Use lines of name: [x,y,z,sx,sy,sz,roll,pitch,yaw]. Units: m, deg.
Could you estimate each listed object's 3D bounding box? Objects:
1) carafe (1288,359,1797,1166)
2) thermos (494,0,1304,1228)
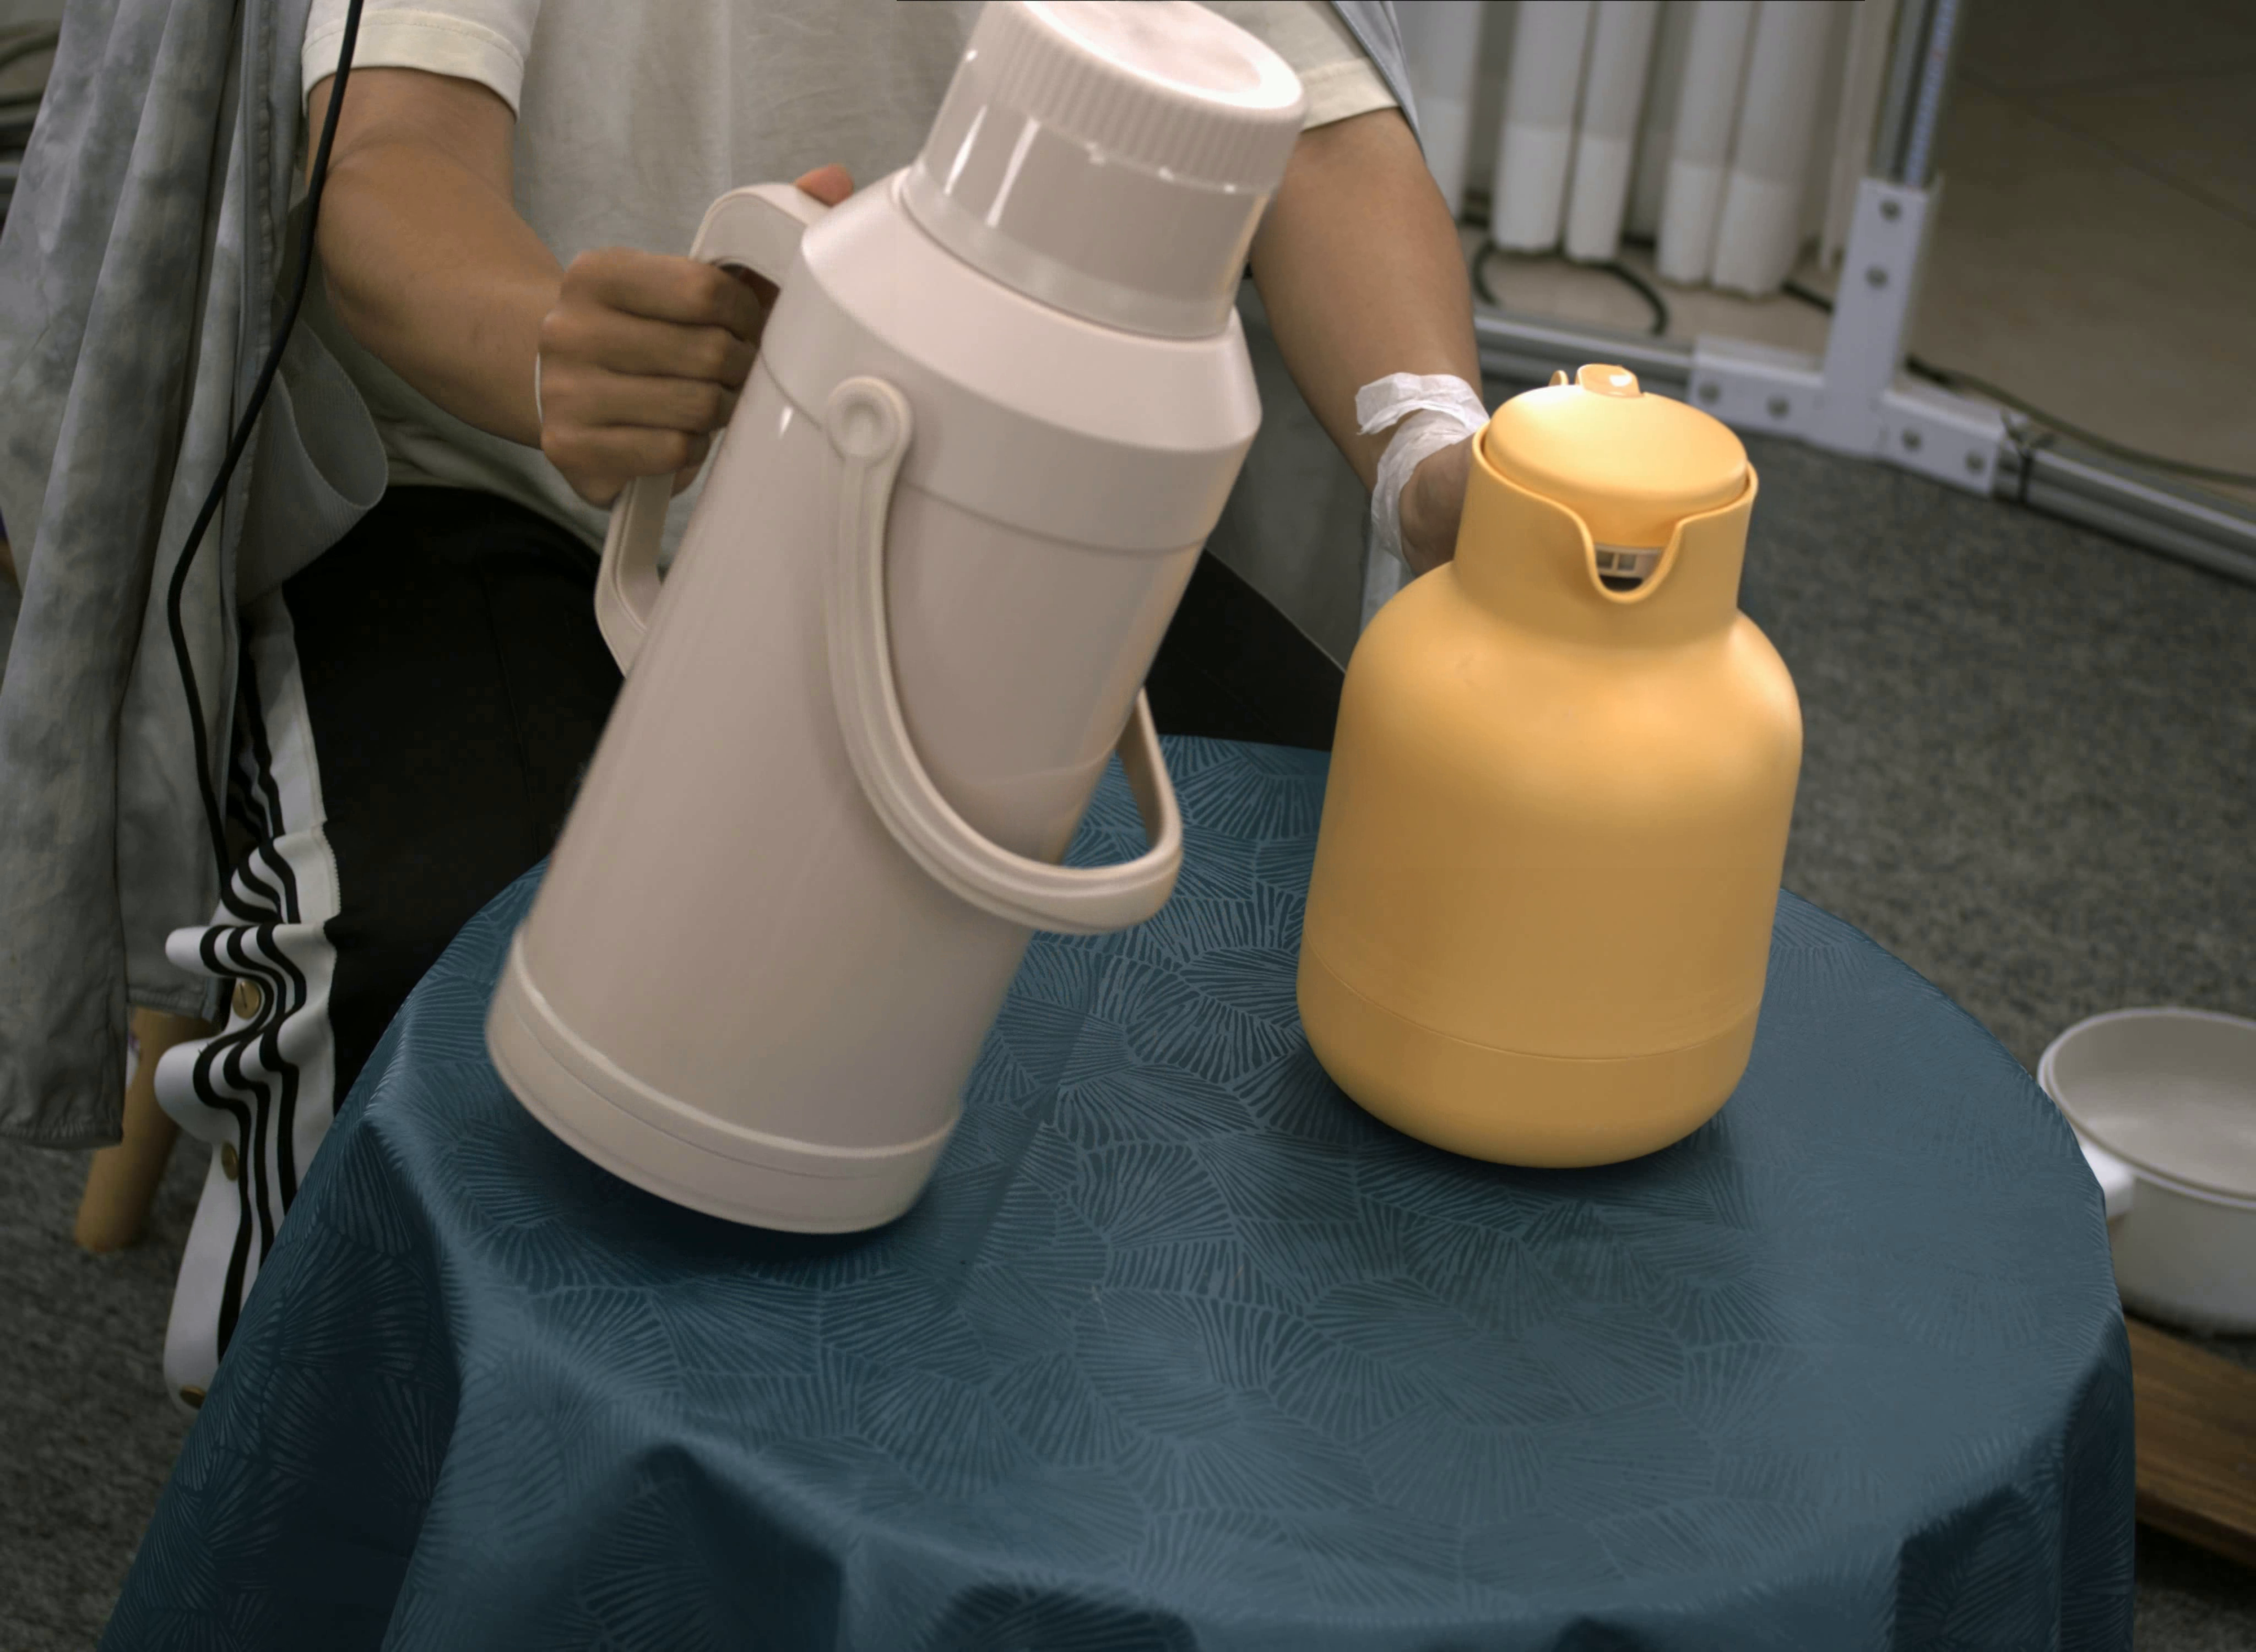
carafe: [0.151,-0.031,1.856,0.163,0.259,0.203,9,28,-1]
thermos: [-0.077,-0.084,1.719,0.208,0.405,0.174,33,26,21]
